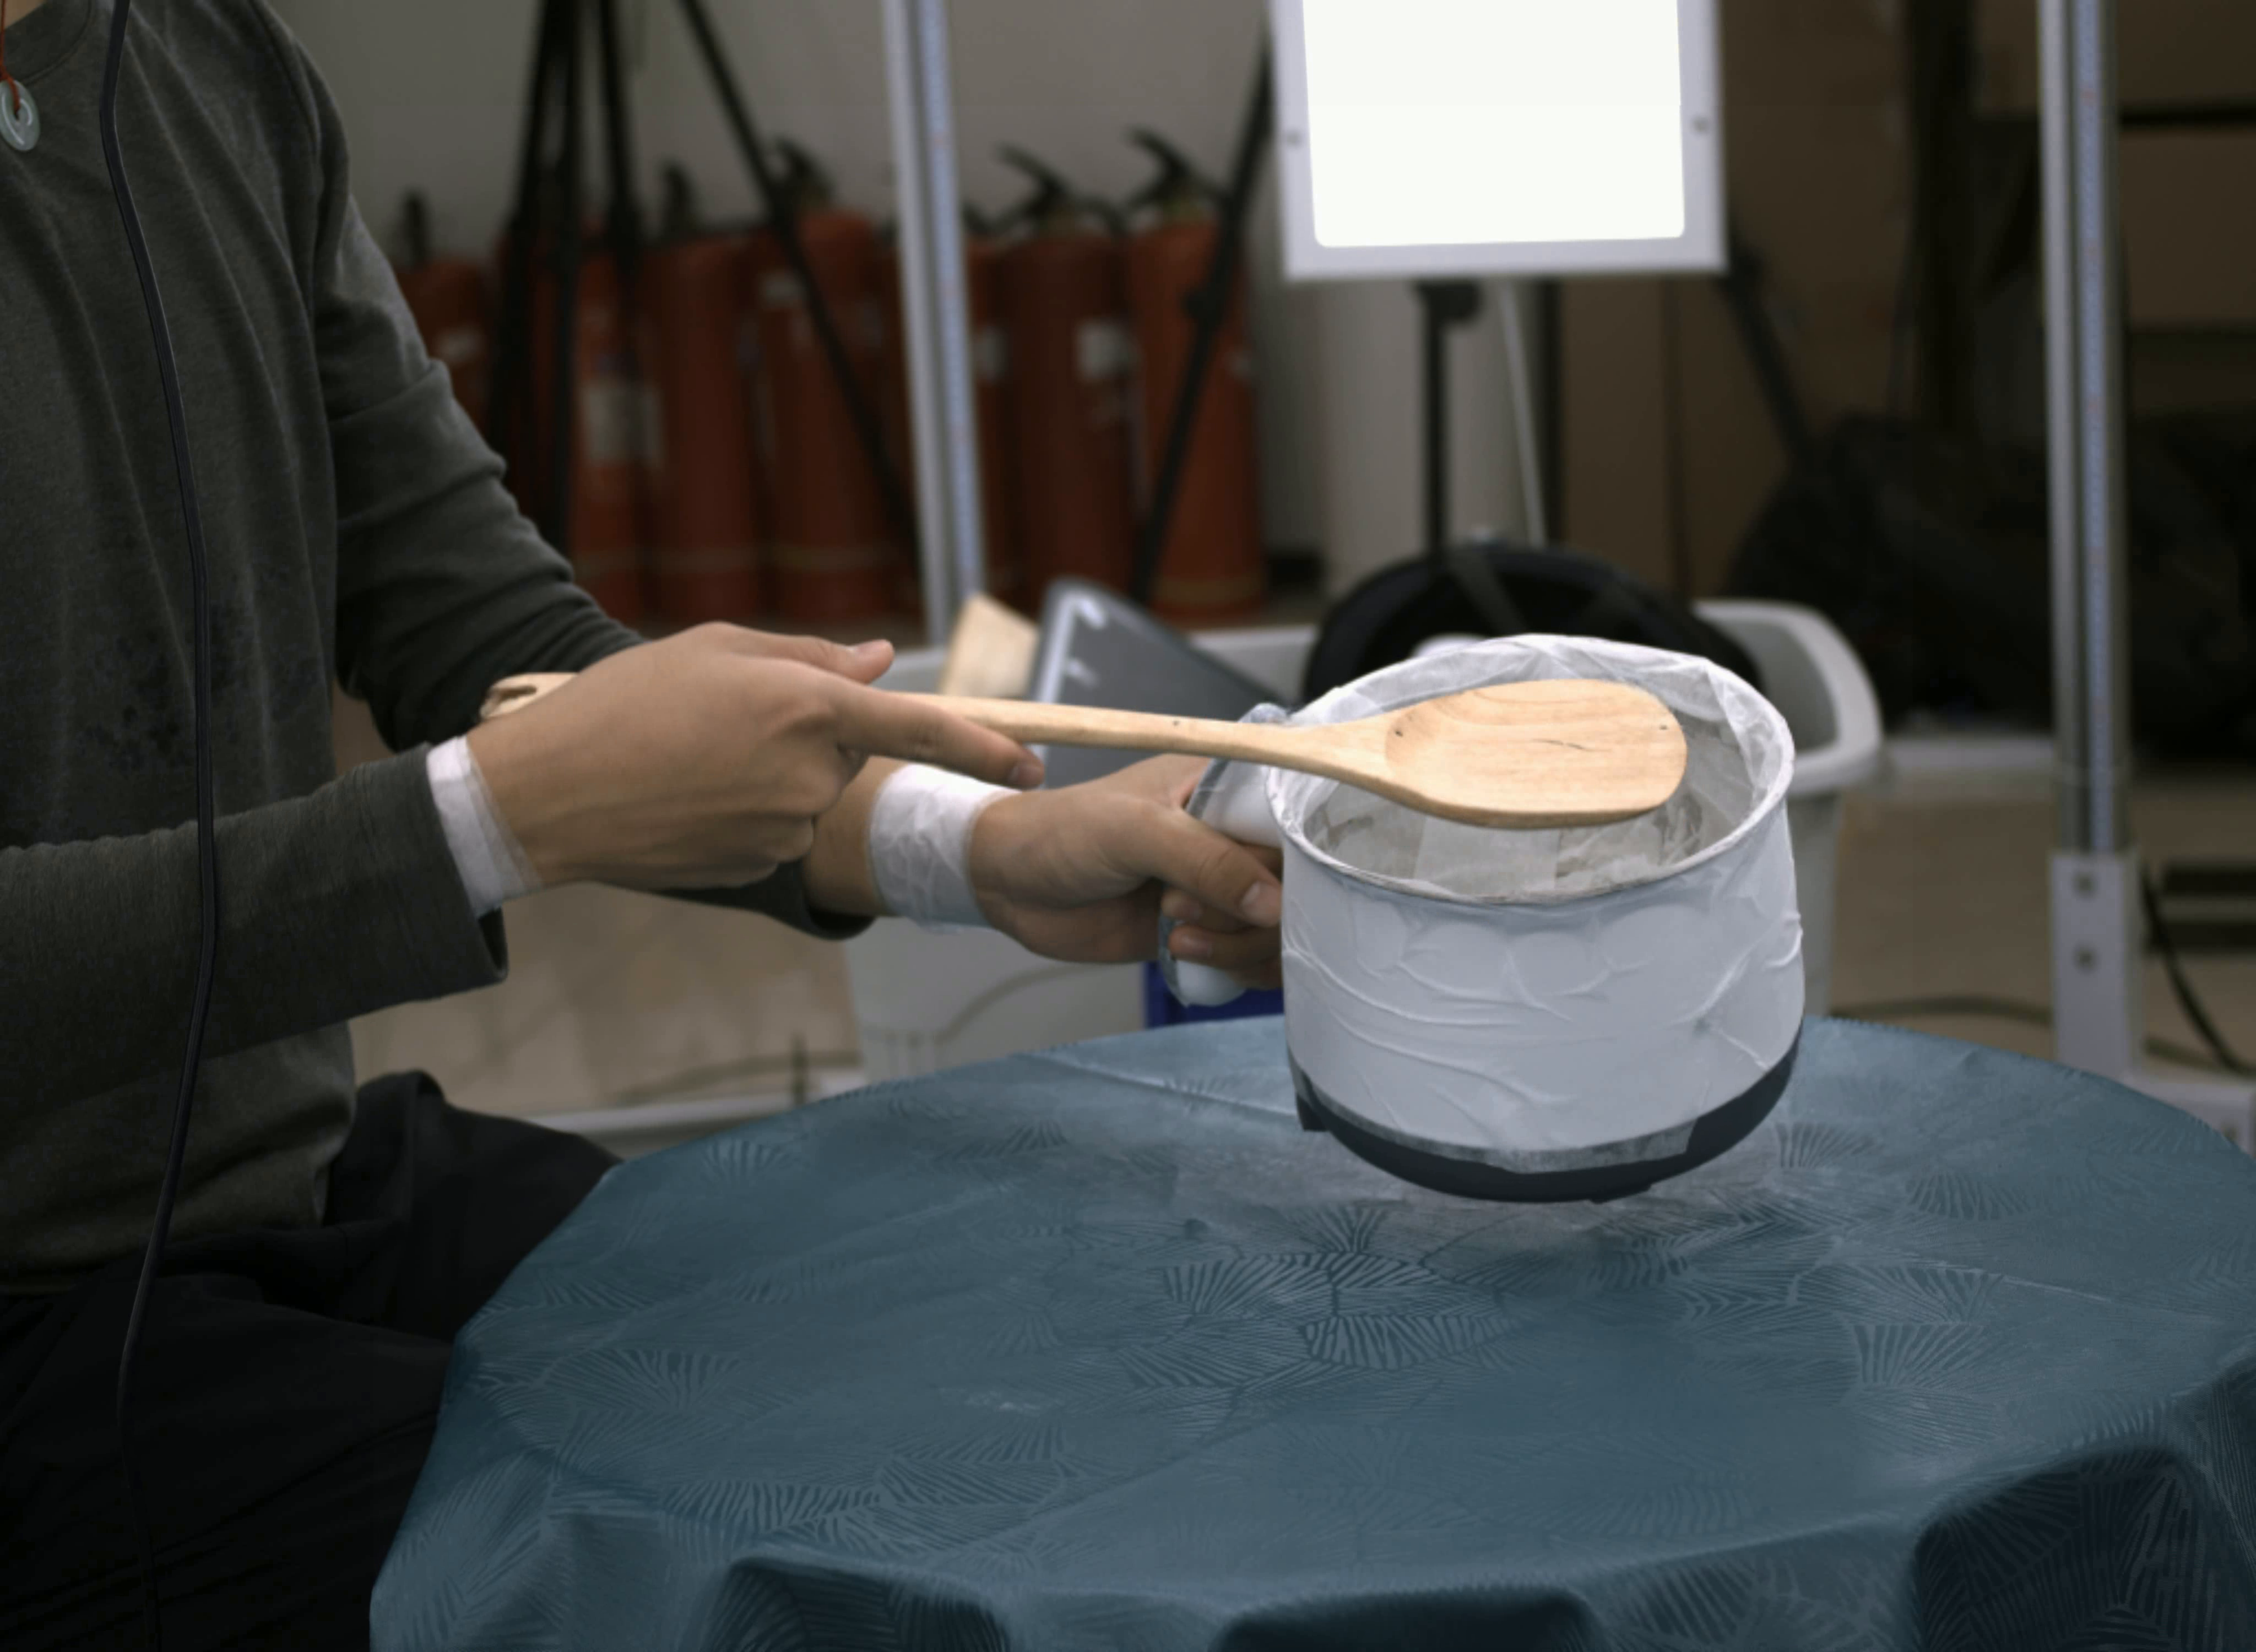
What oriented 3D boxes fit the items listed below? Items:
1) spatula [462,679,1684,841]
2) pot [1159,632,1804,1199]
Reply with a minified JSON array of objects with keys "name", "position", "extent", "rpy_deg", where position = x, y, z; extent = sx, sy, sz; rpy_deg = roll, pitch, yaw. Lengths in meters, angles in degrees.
[{"name":"spatula","position":[-0.019,-0.027,1.744],"extent":[0.391,0.018,0.095],"rpy_deg":[4,28,5]},{"name":"pot","position":[0.115,0.028,1.866],"extent":[0.237,0.137,0.175],"rpy_deg":[10,33,27]}]
